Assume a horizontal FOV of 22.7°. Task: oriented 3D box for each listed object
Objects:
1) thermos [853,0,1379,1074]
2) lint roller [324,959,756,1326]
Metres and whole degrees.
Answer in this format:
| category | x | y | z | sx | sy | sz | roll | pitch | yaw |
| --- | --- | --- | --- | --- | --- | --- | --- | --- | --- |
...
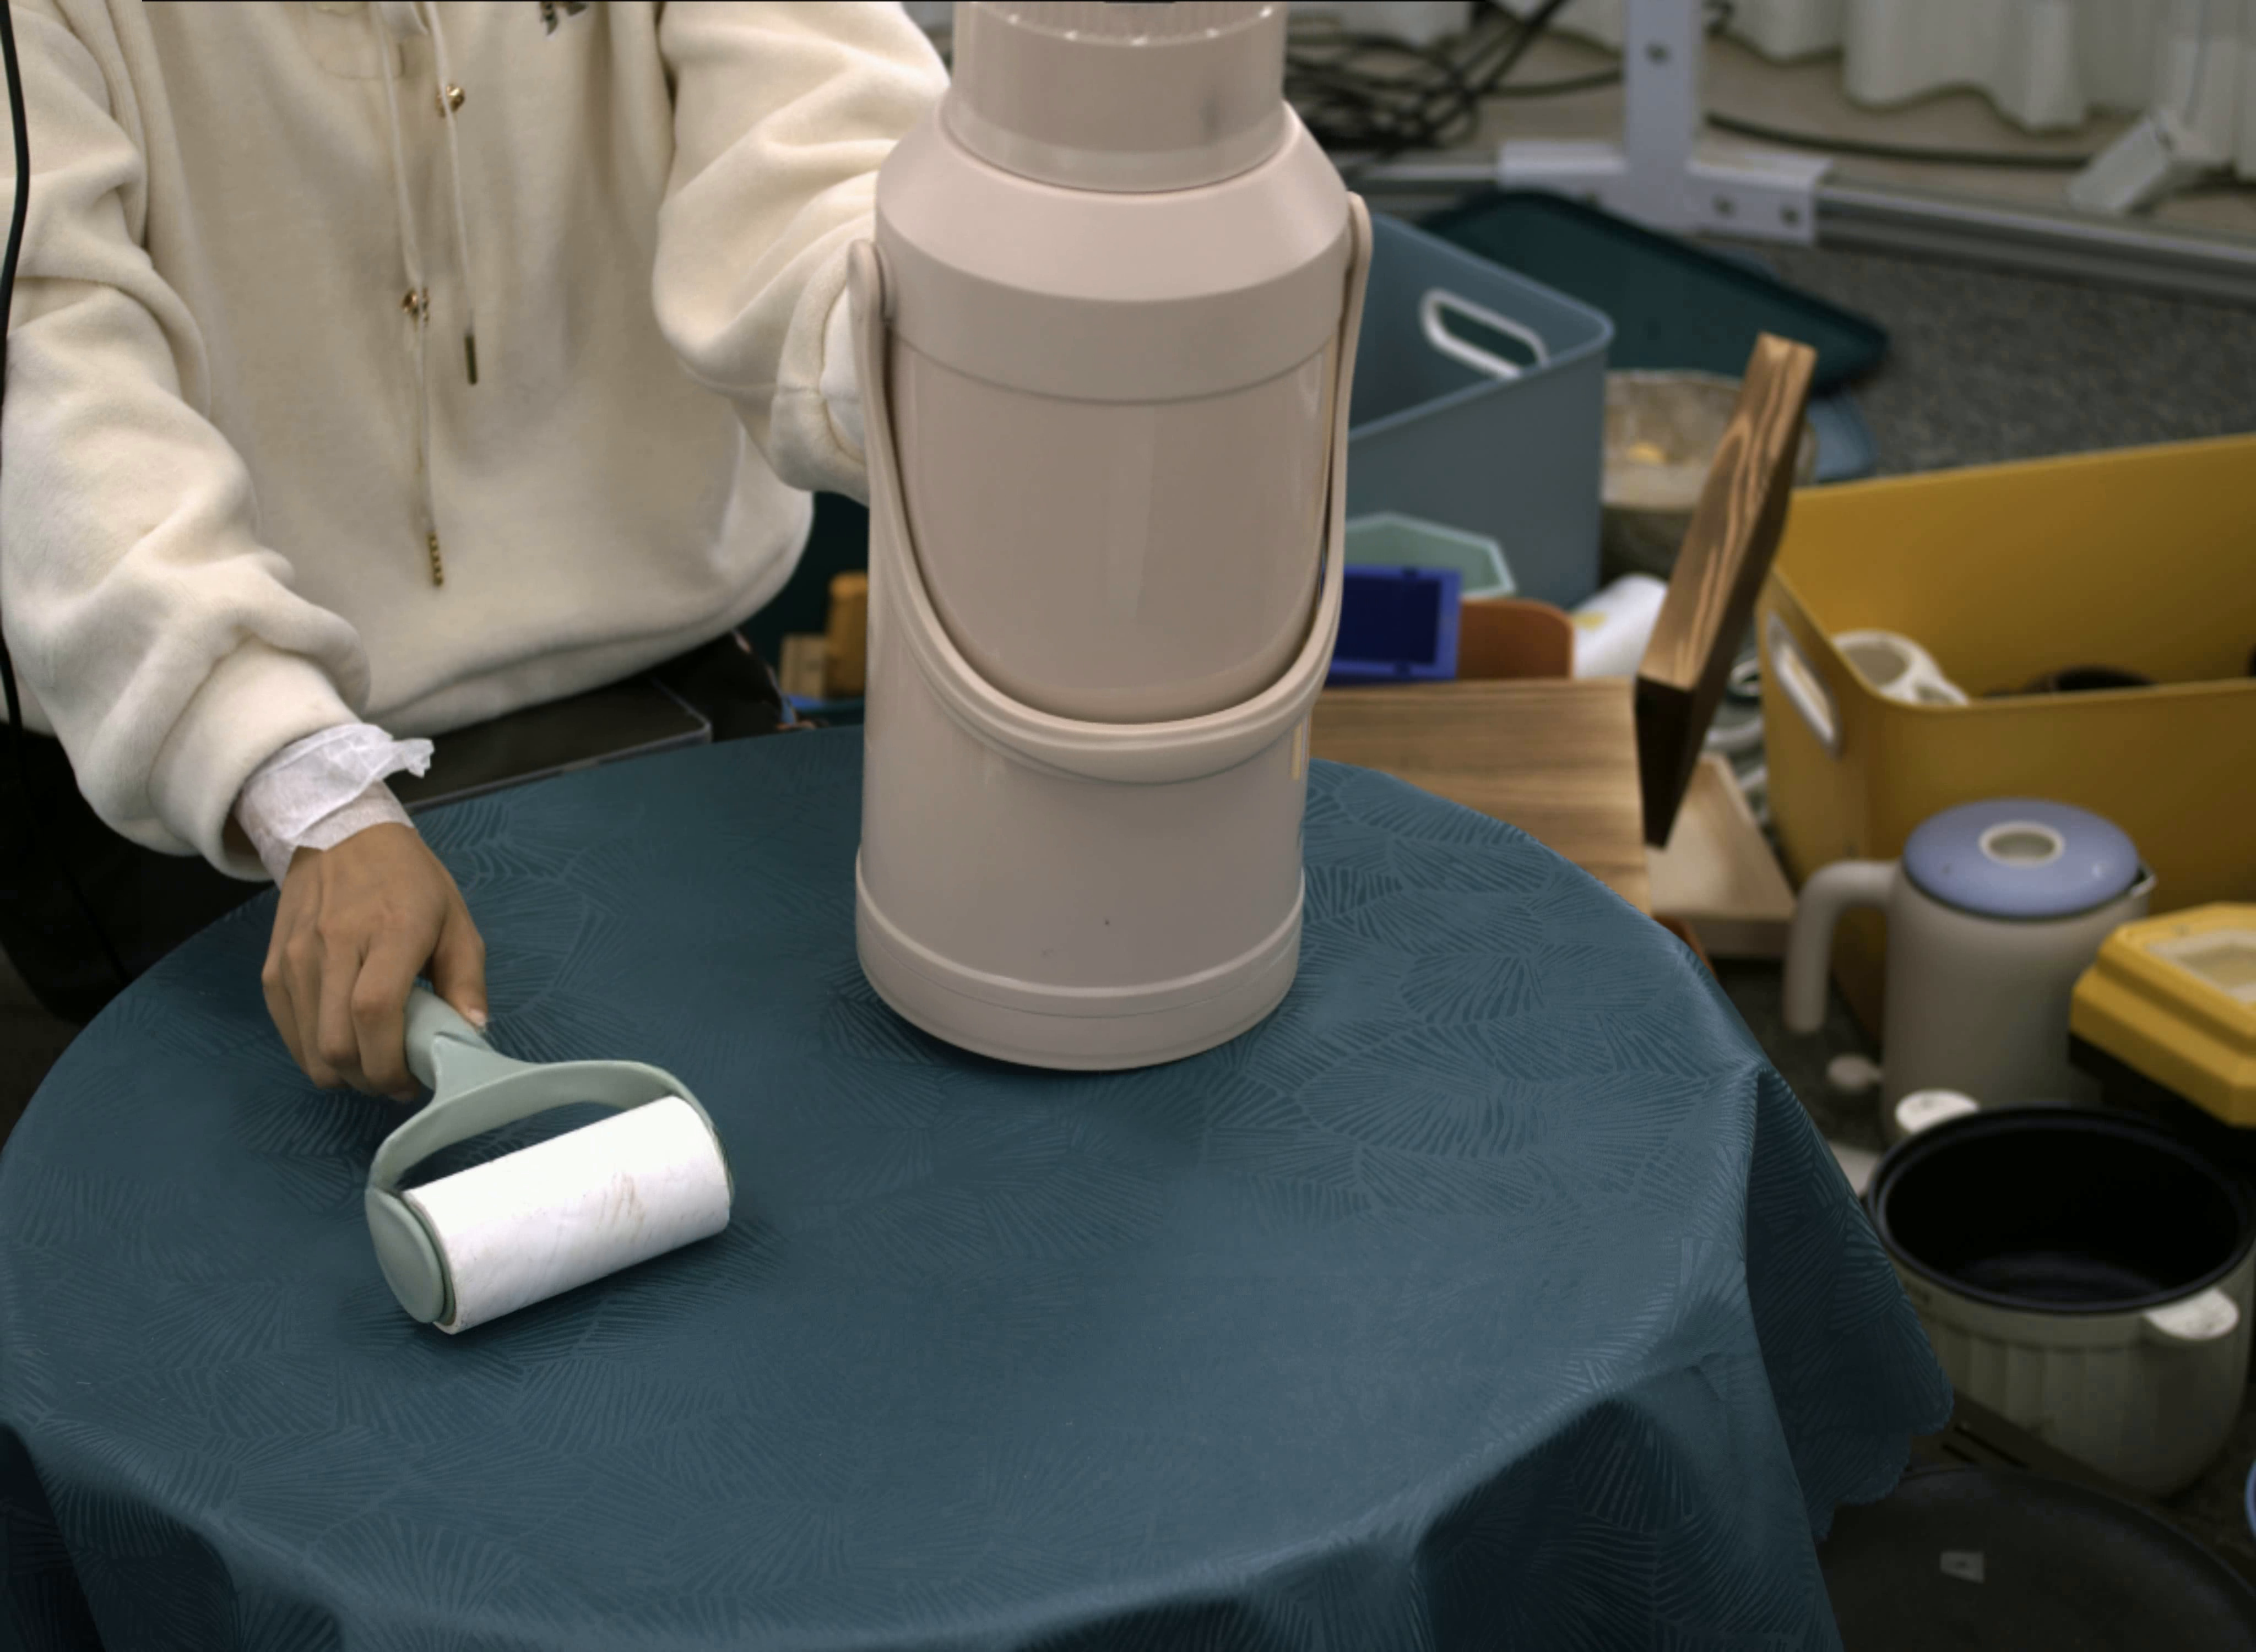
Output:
| category | x | y | z | sx | sy | sz | roll | pitch | yaw |
| --- | --- | --- | --- | --- | --- | --- | --- | --- | --- |
| thermos | -0.011 | -0.132 | 1.909 | 0.175 | 0.401 | 0.209 | -7 | 31 | -17 |
| lint roller | -0.216 | 0.087 | 1.875 | 0.117 | 0.048 | 0.199 | -21 | 41 | -26 |
